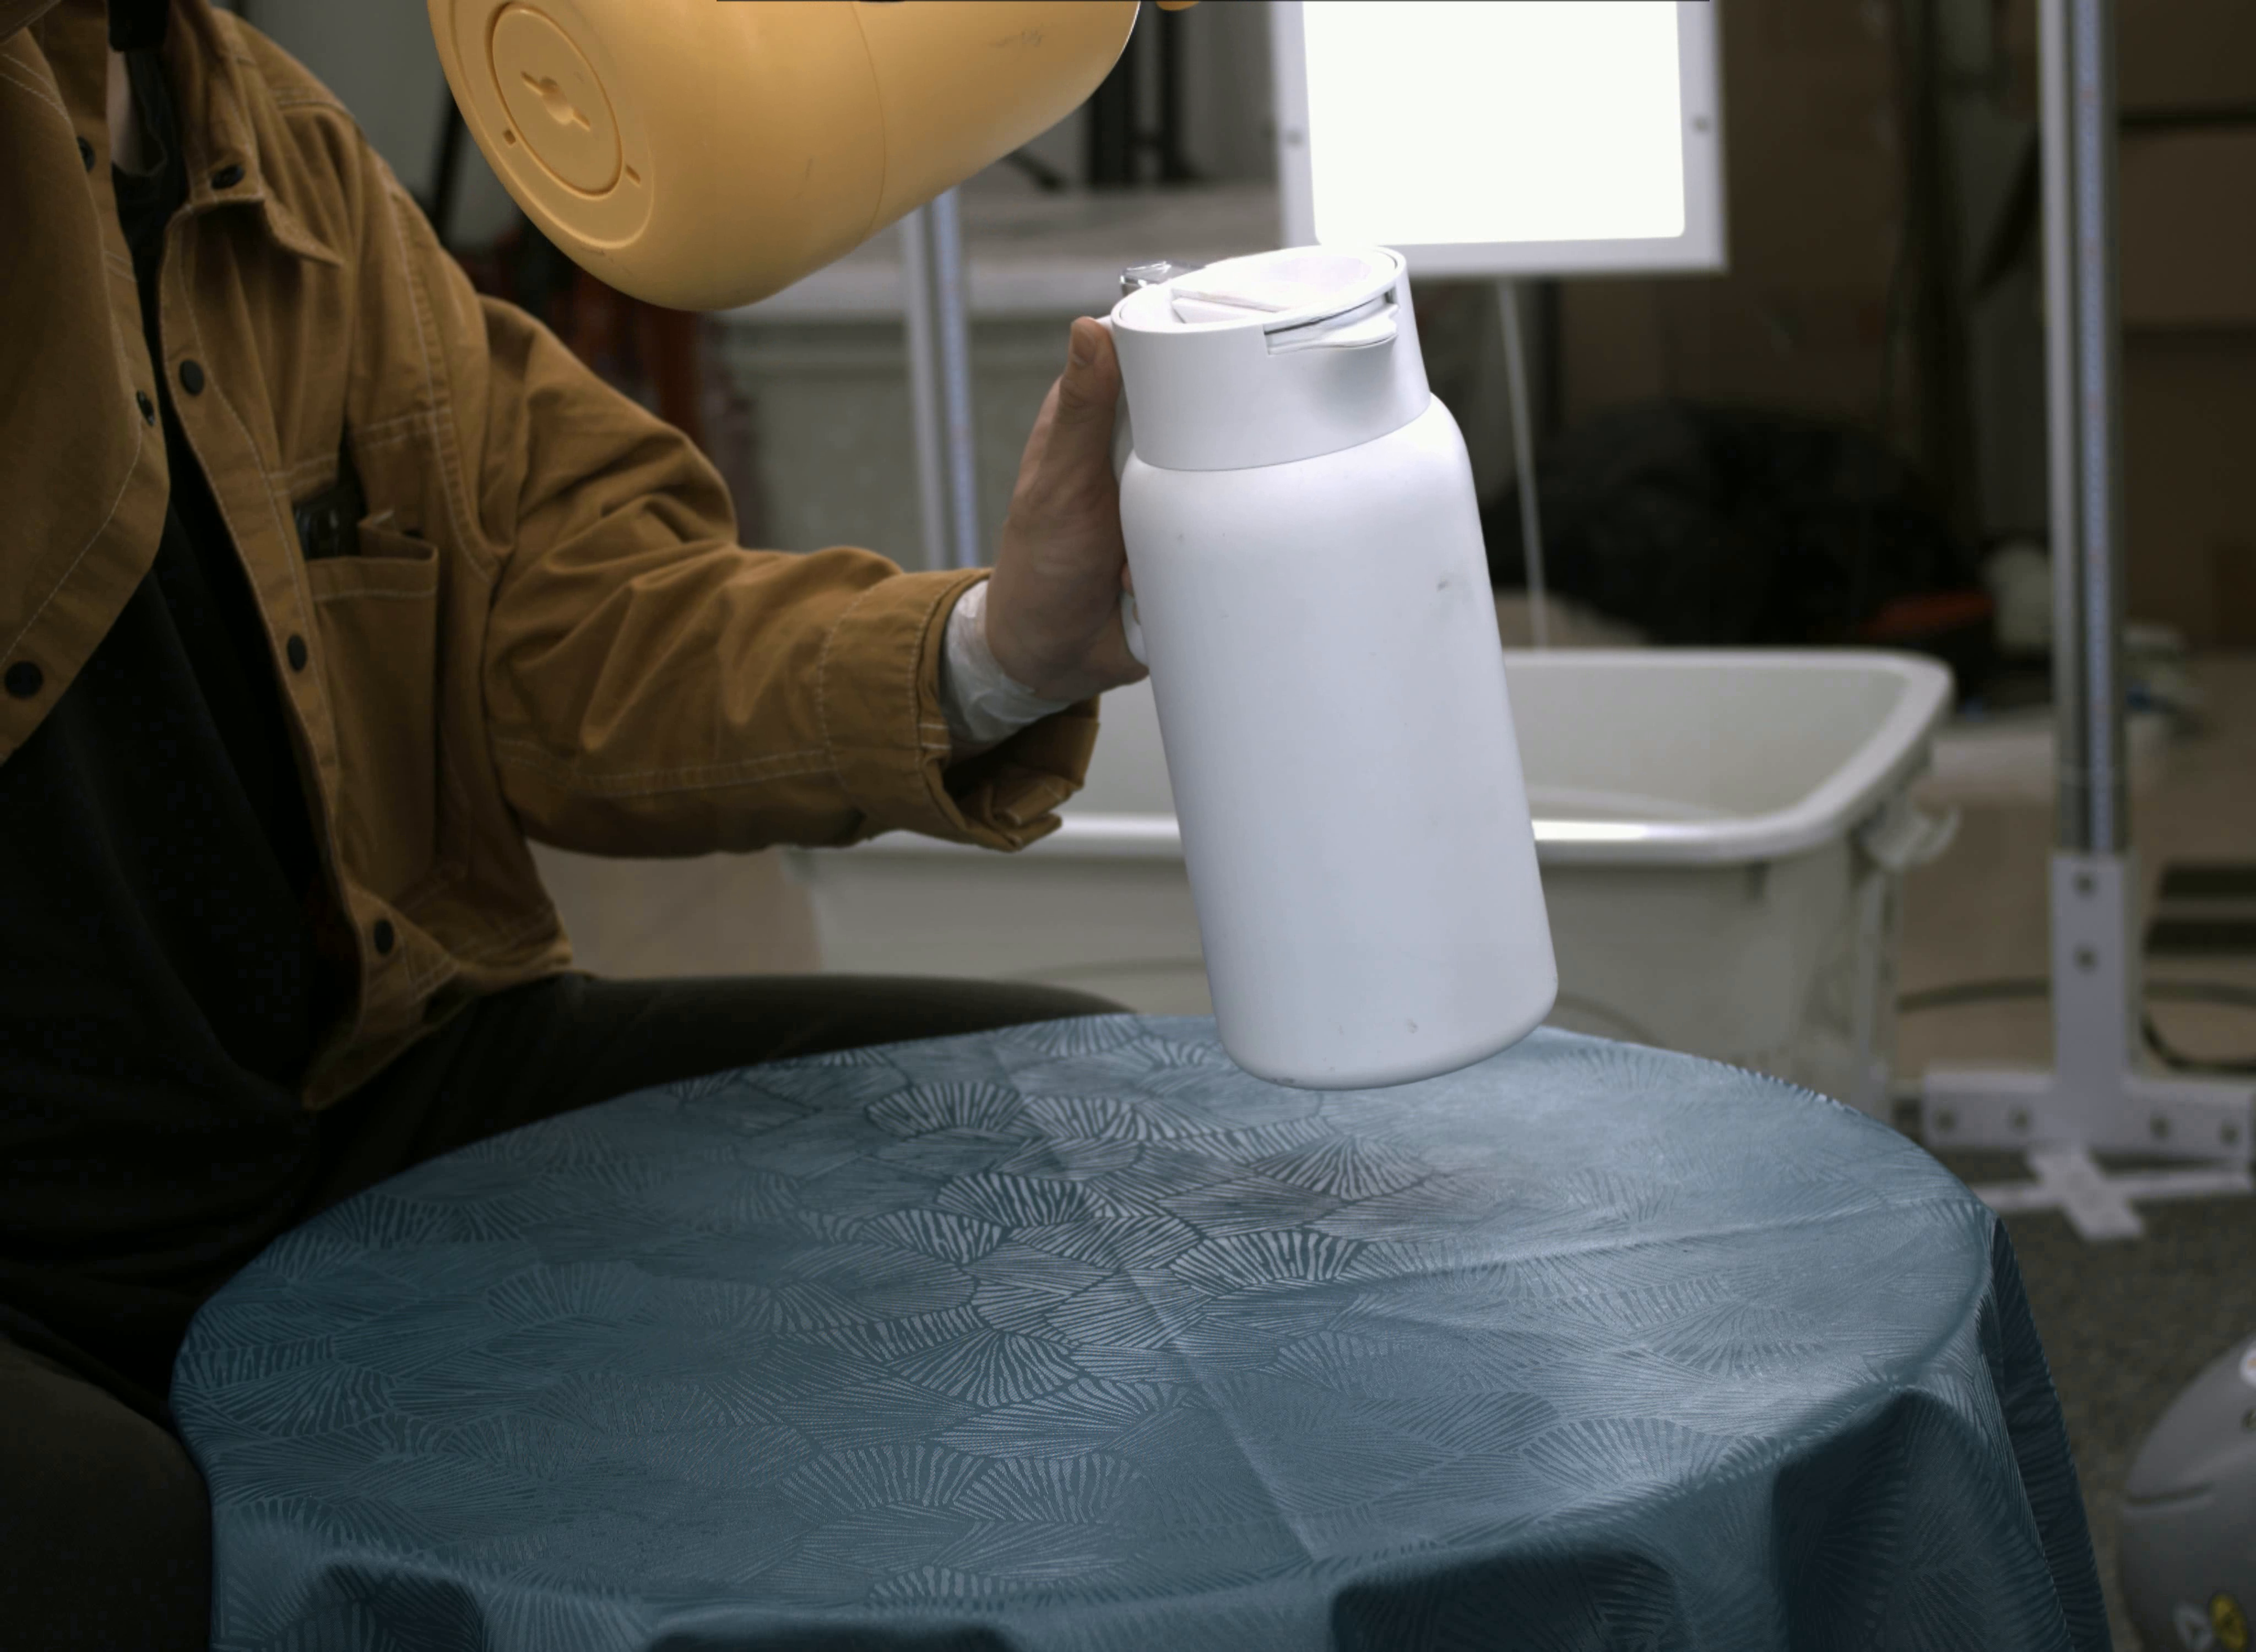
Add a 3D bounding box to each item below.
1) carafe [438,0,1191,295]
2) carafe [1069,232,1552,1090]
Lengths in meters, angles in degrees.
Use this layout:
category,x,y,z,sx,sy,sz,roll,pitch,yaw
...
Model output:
category,x,y,z,sx,sy,sz,roll,pitch,yaw
carafe,-0.079,-0.295,1.659,0.255,0.202,0.167,-34,29,-32
carafe,0.054,-0.056,1.837,0.121,0.269,0.176,-24,22,-27
